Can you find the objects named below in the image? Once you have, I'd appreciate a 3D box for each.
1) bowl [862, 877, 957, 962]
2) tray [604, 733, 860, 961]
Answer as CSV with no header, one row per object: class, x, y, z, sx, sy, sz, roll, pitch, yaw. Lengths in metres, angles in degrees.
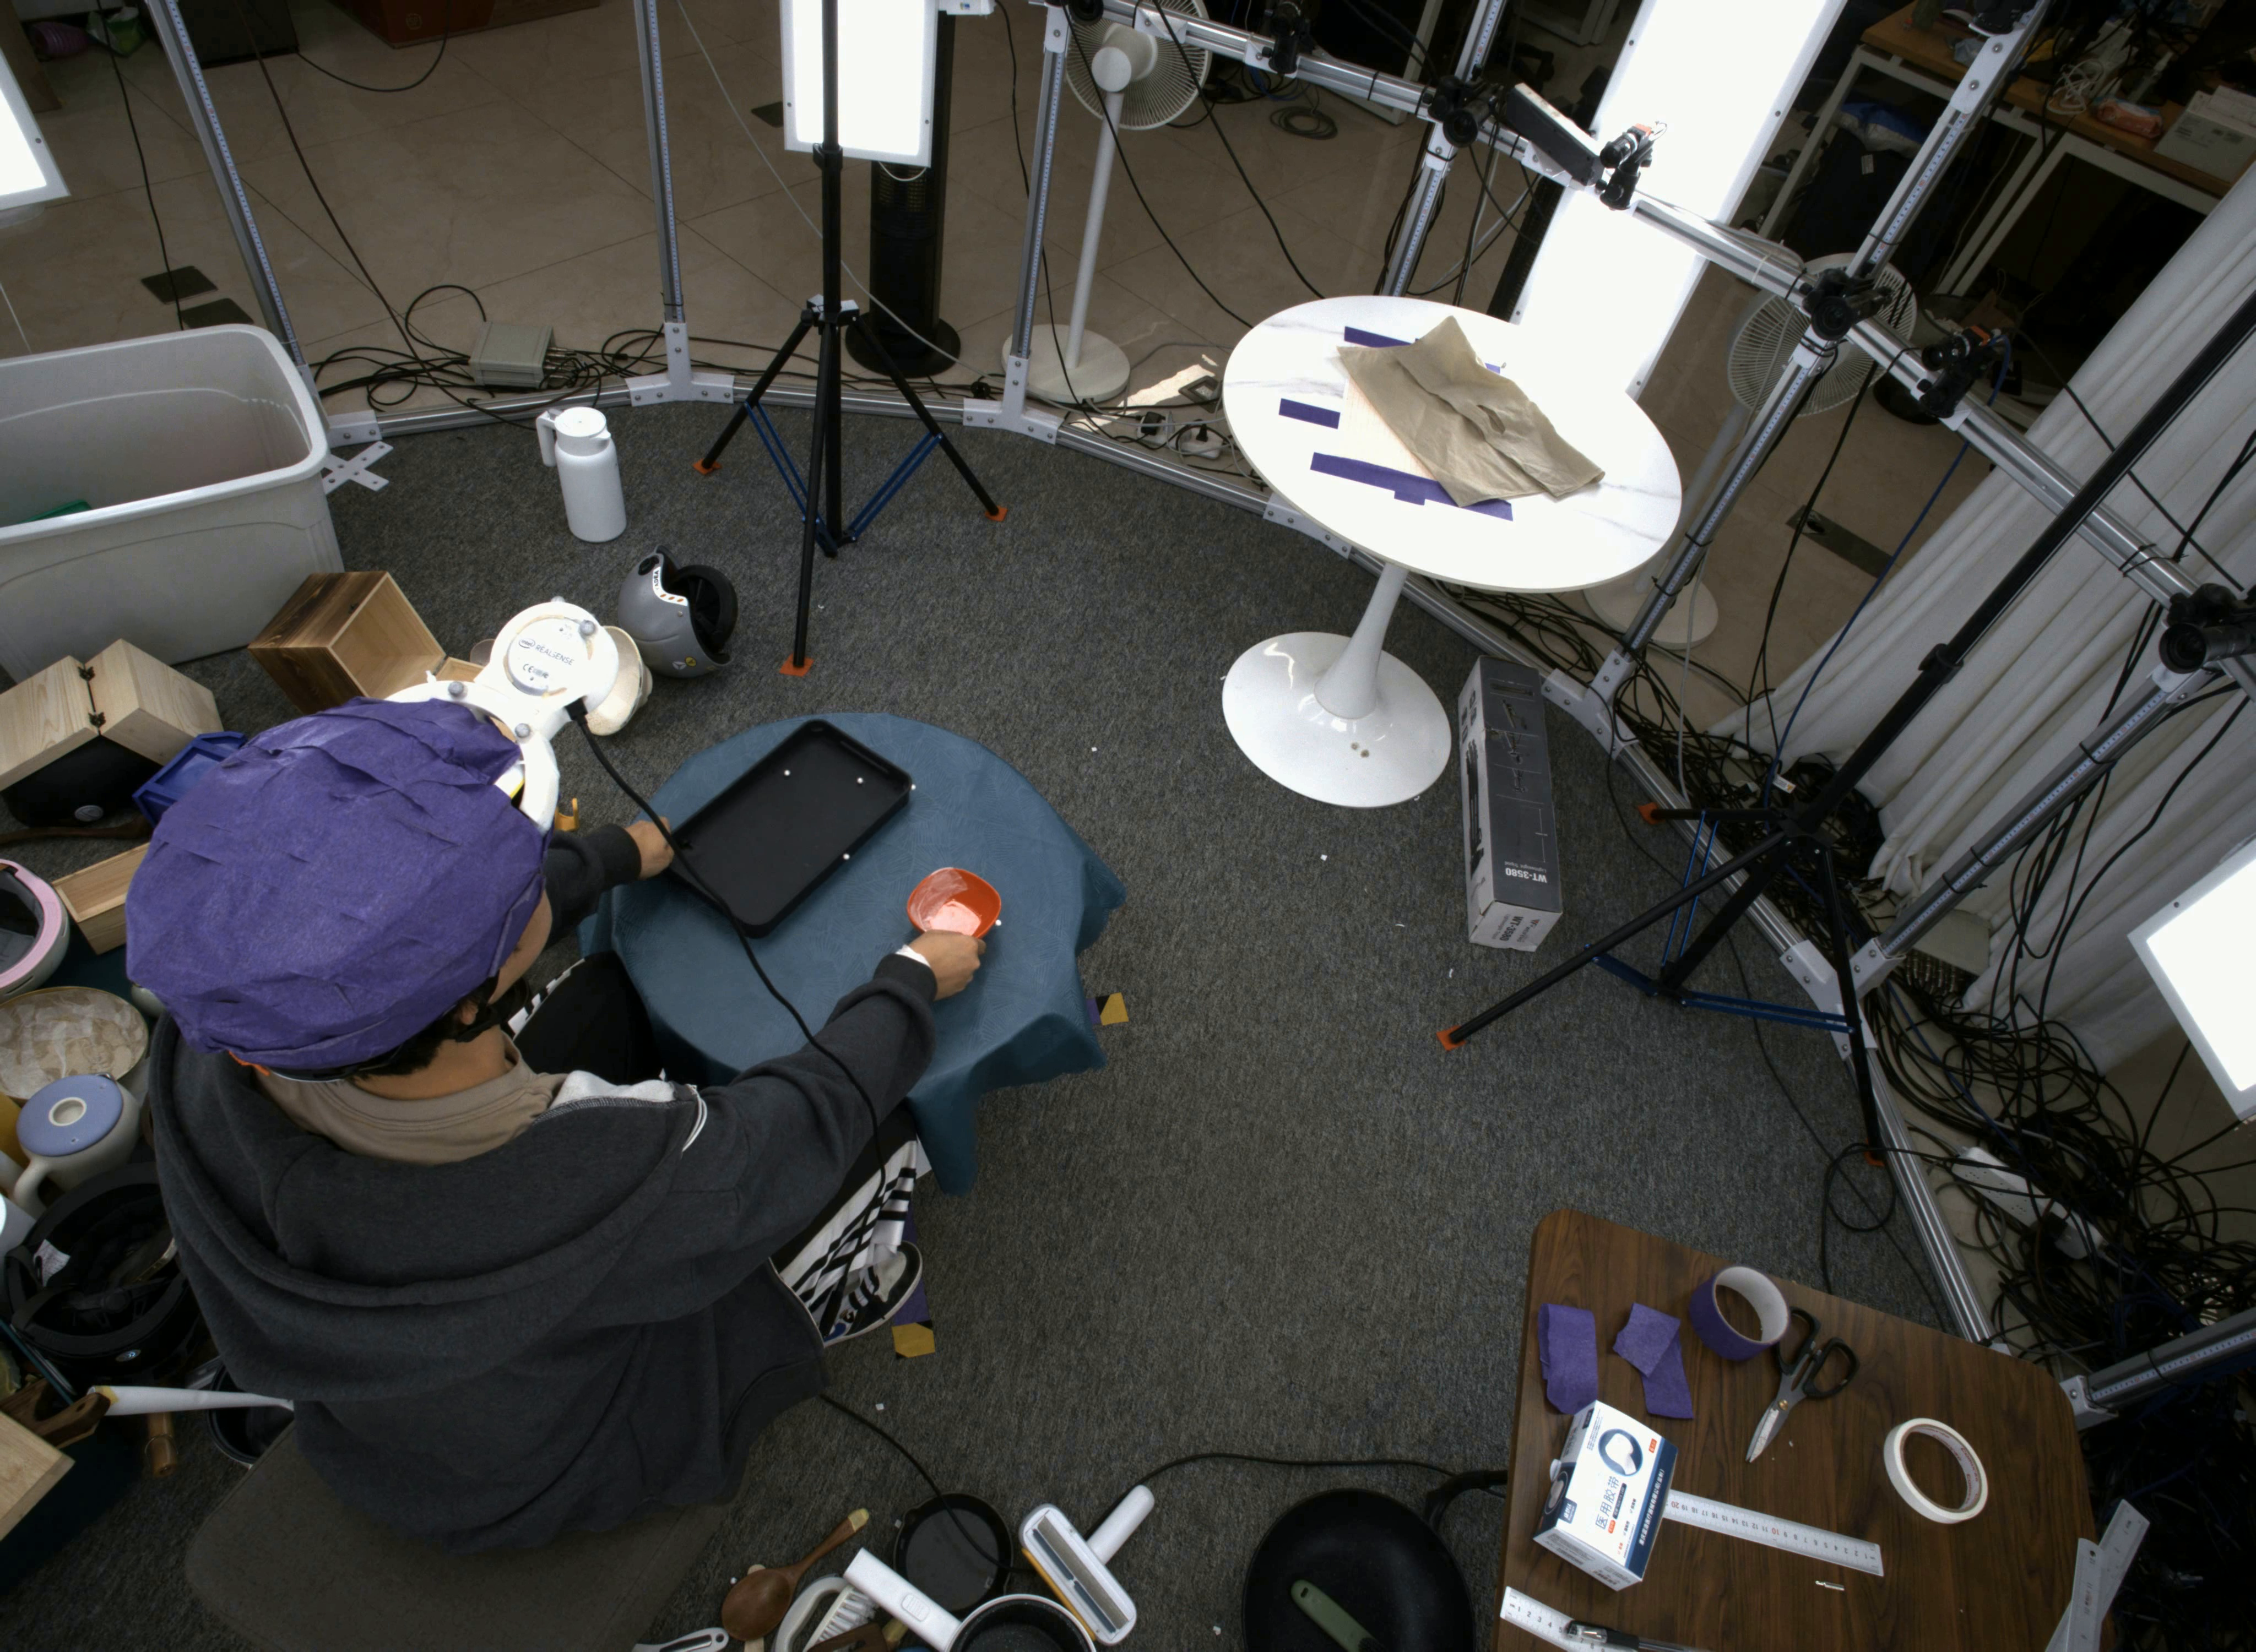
bowl,-0.276,0.124,1.638,0.118,0.052,0.117,8,51,-8
tray,-0.506,0.019,1.668,0.181,0.038,0.317,31,52,8
